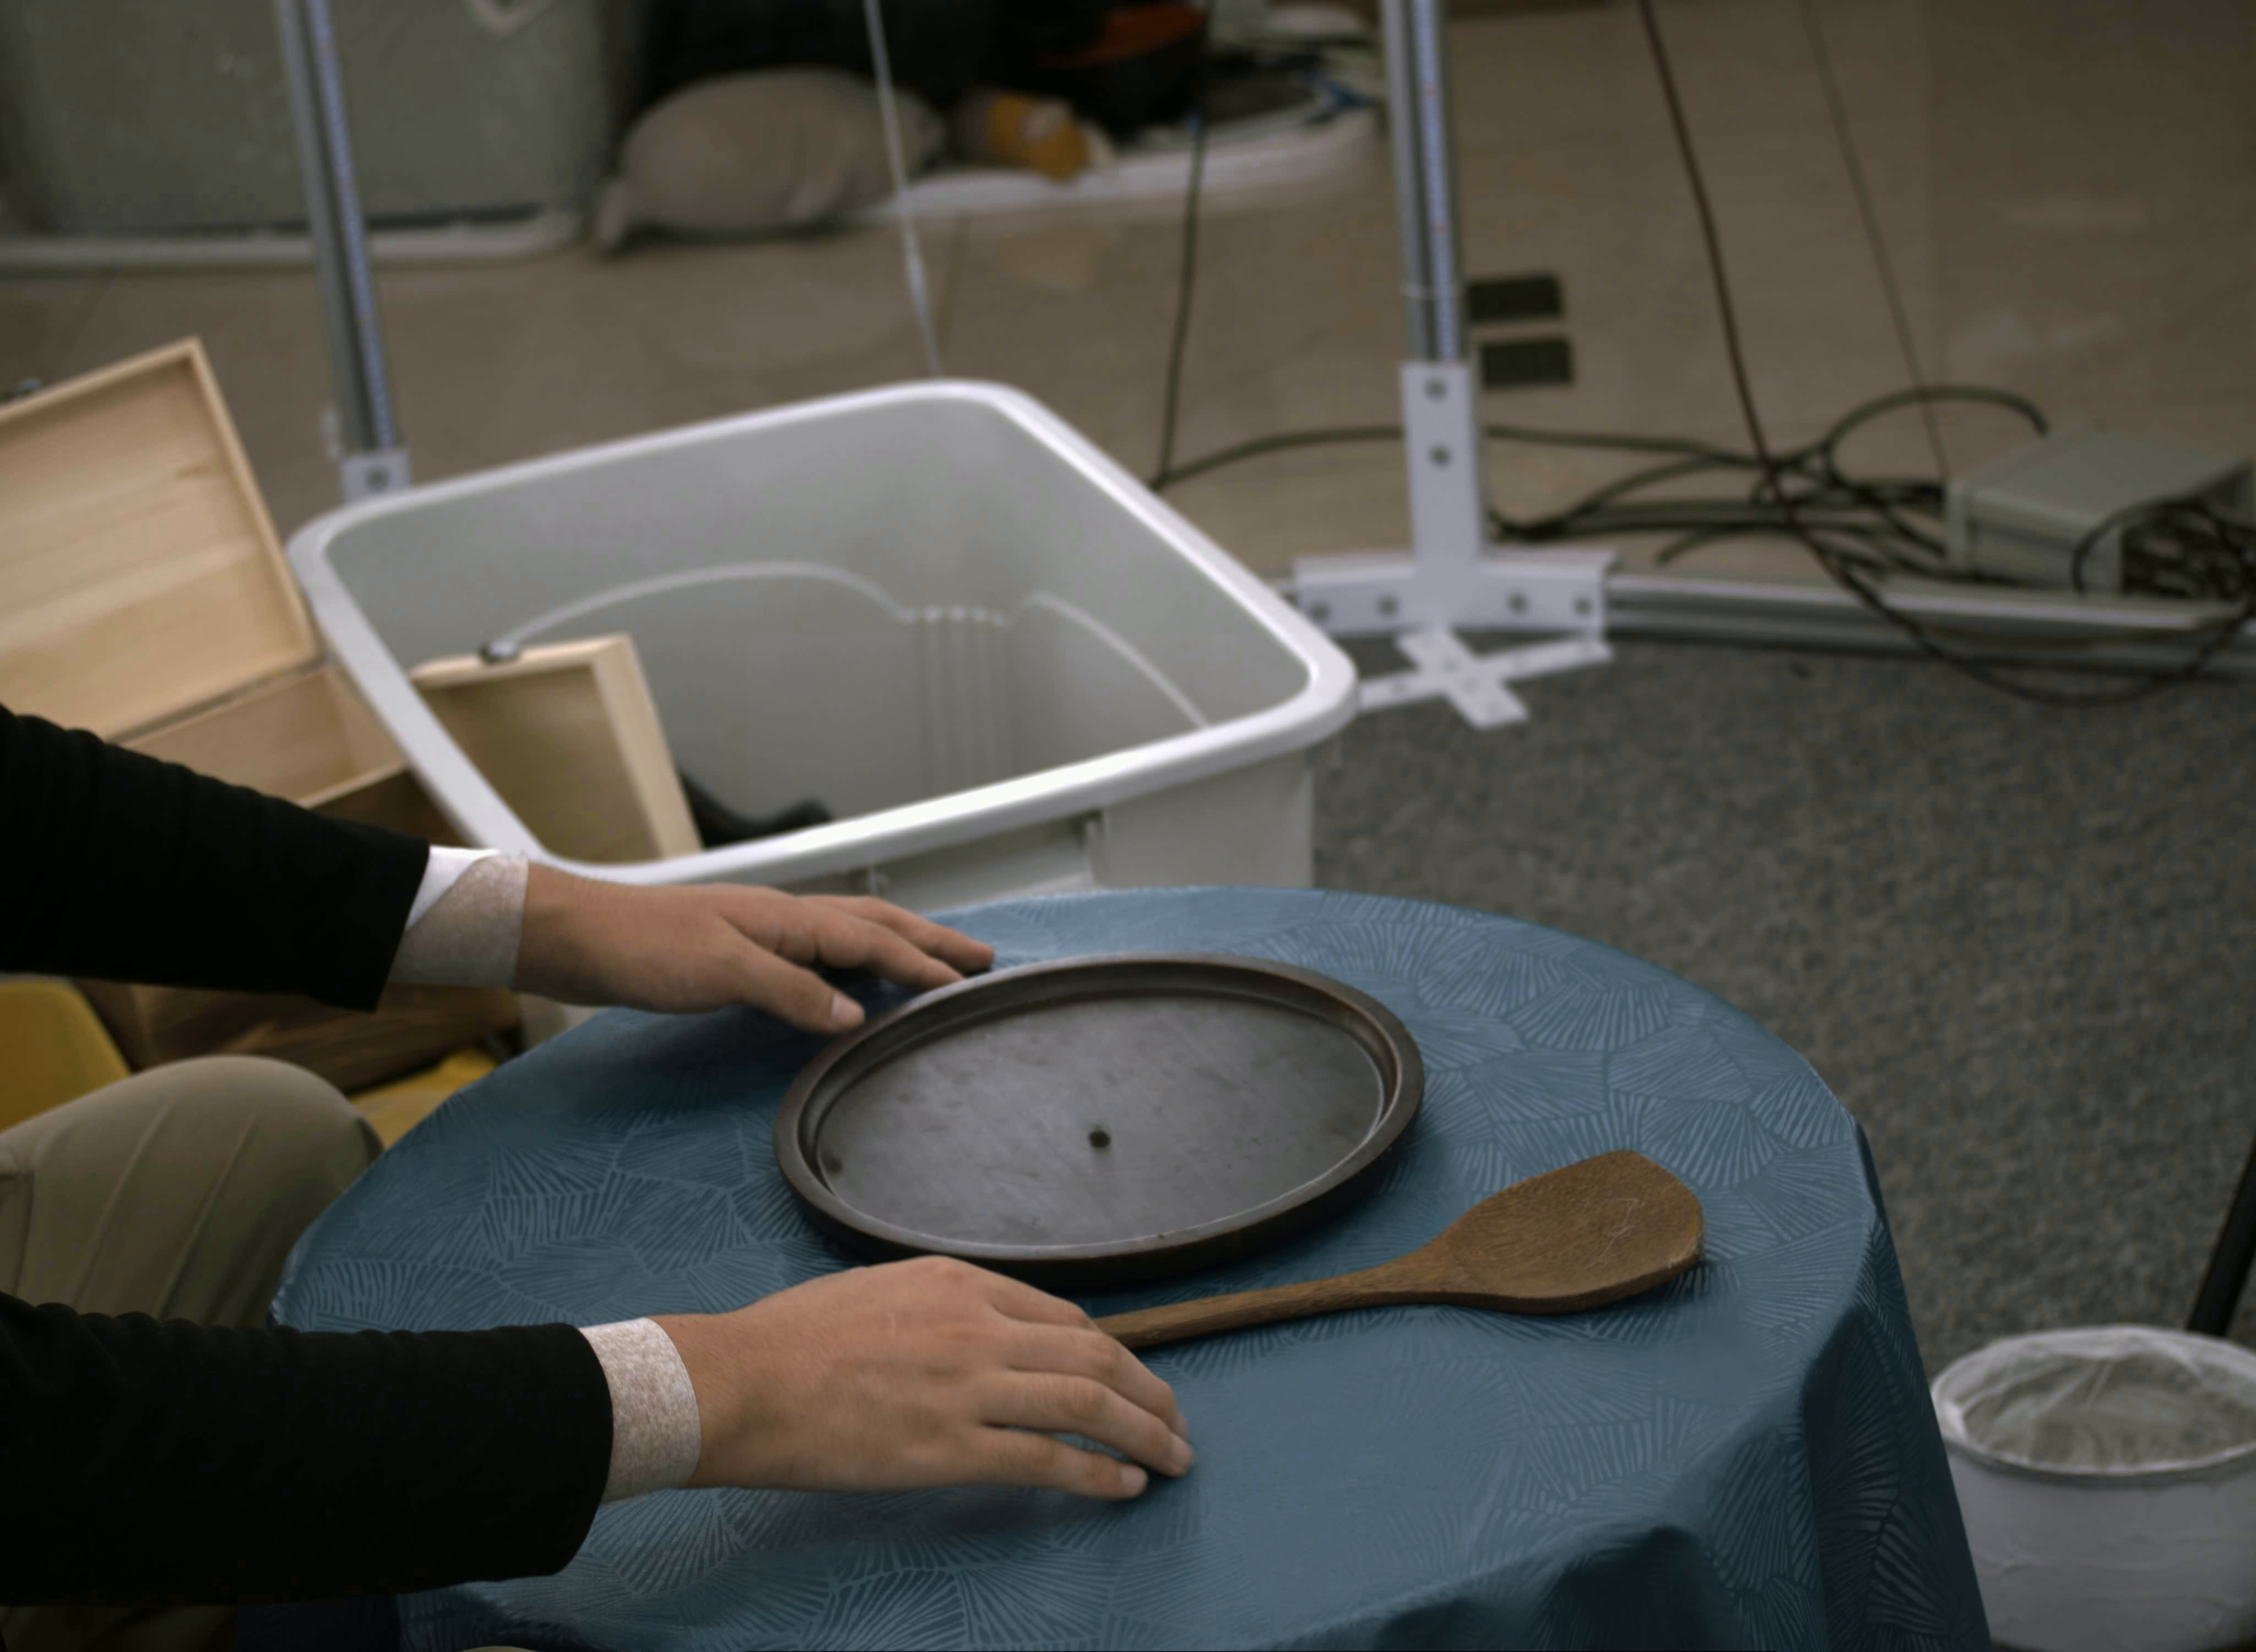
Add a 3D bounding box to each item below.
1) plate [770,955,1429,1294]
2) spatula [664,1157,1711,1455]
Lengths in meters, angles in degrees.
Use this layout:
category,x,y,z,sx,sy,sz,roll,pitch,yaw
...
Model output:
category,x,y,z,sx,sy,sz,roll,pitch,yaw
plate,-0.010,0.113,2.179,0.254,0.029,0.251,-5,26,2
spatula,0.021,0.178,2.042,0.385,0.016,0.095,-11,25,-9
